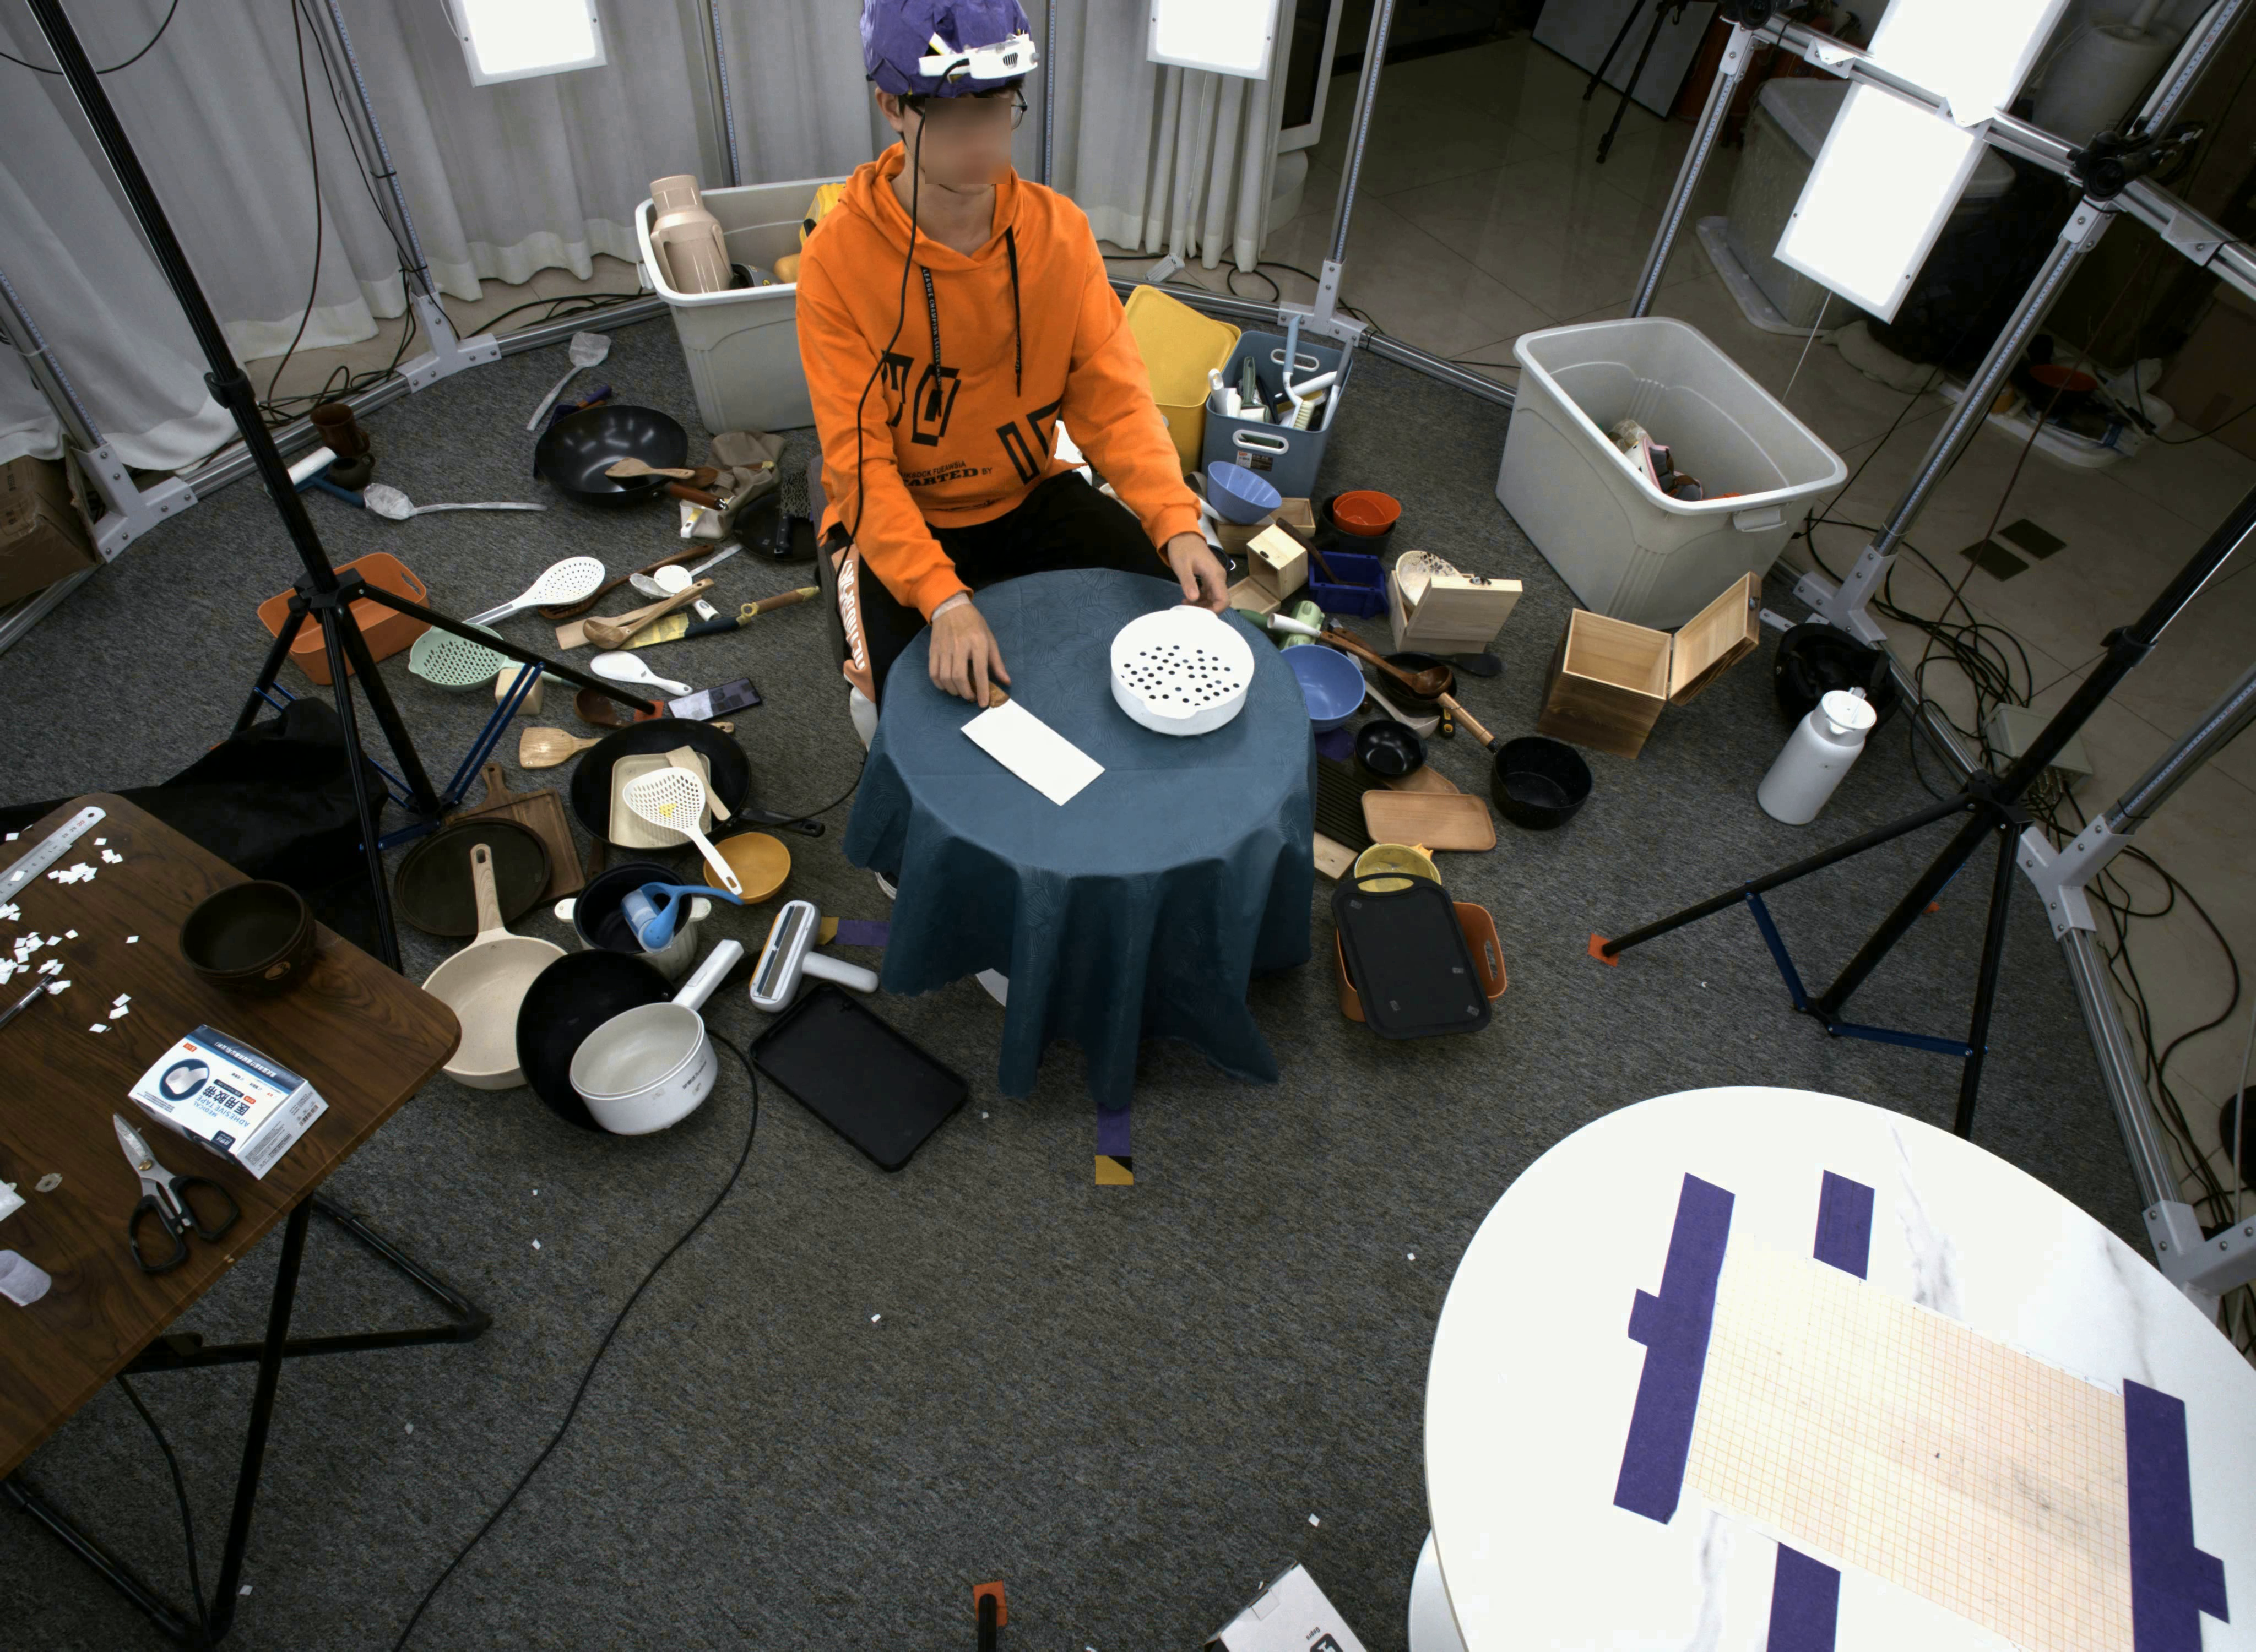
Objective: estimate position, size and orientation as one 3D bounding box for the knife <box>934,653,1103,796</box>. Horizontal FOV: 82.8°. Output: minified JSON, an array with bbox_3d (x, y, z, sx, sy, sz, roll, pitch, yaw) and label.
[{"bbox_3d":[-0.171,-0.138,1.767,0.310,0.020,0.094,37,58,23],"label":"knife"}]

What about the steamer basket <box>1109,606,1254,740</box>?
[{"bbox_3d":[0.074,-0.212,1.813,0.202,0.067,0.236,10,51,6],"label":"steamer basket"}]
